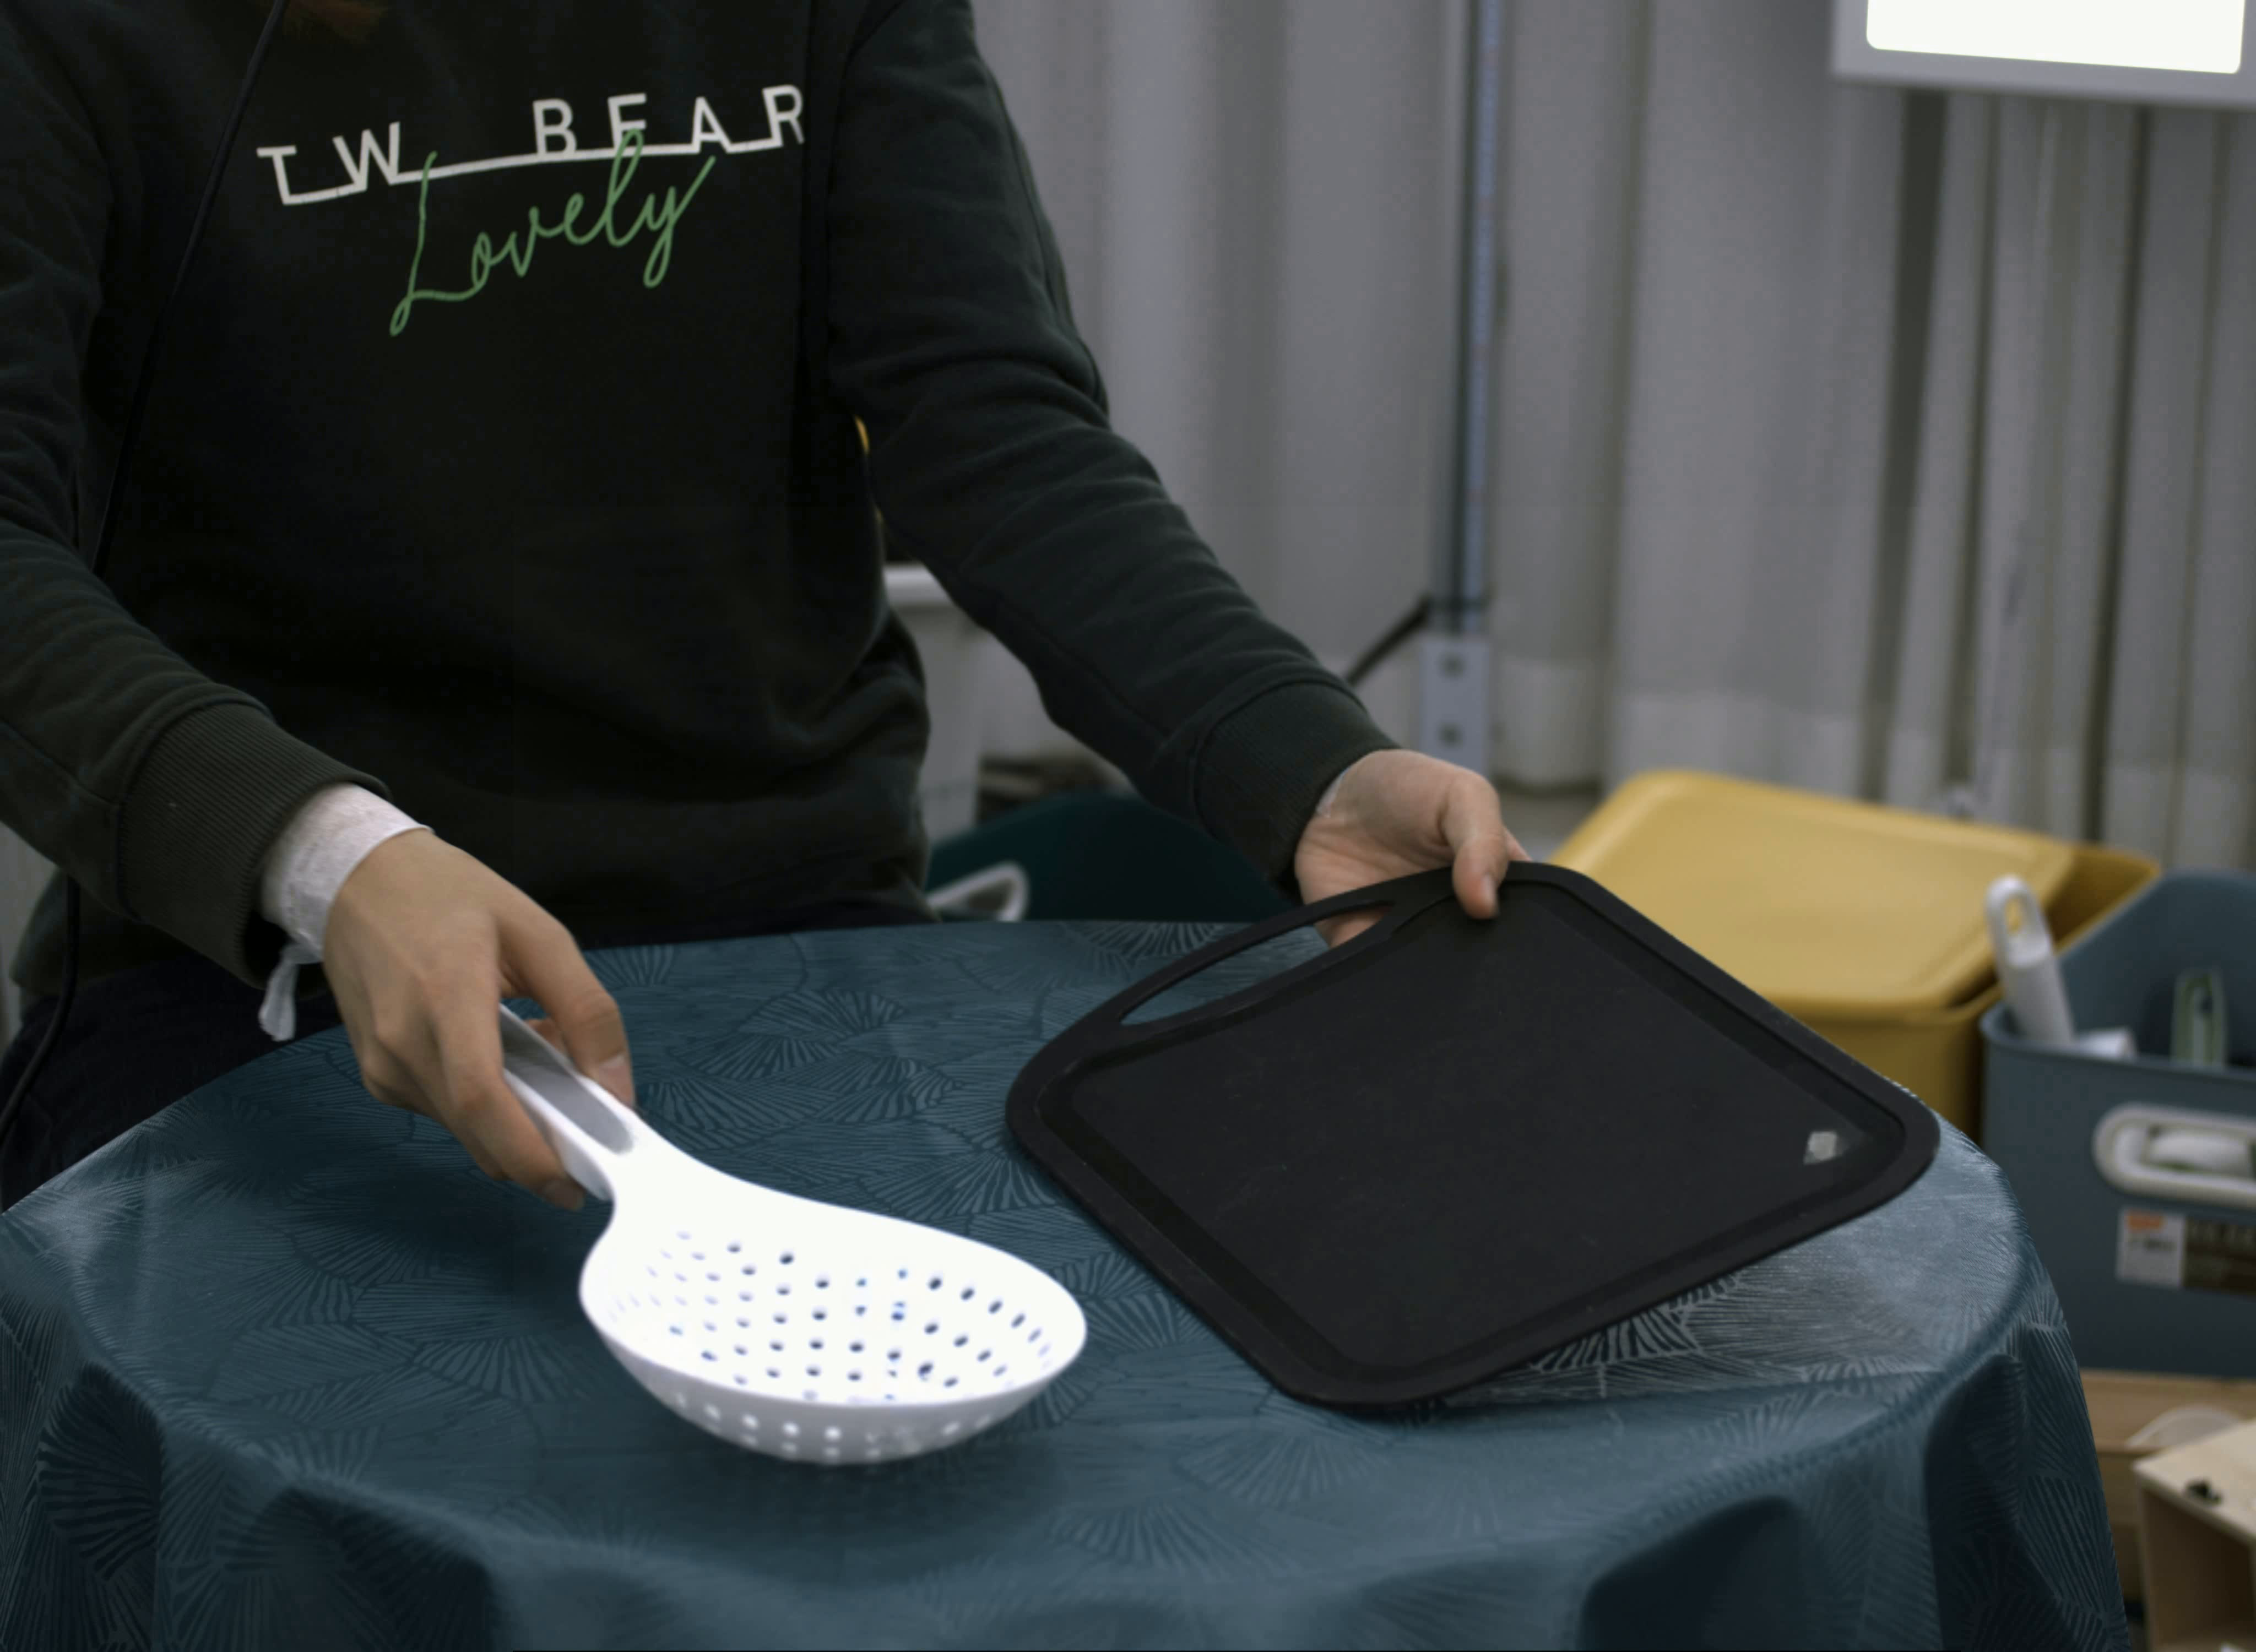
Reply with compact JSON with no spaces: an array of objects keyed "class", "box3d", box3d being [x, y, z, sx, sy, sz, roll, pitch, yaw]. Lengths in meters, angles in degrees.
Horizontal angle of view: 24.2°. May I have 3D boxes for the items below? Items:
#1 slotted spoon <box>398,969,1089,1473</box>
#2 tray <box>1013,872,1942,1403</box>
[{"class":"slotted spoon","box3d":[-0.132,0.104,1.497,0.137,0.046,0.345,-2,24,-31]},{"class":"tray","box3d":[0.094,0.084,1.598,0.211,0.010,0.321,-22,23,-15]}]
